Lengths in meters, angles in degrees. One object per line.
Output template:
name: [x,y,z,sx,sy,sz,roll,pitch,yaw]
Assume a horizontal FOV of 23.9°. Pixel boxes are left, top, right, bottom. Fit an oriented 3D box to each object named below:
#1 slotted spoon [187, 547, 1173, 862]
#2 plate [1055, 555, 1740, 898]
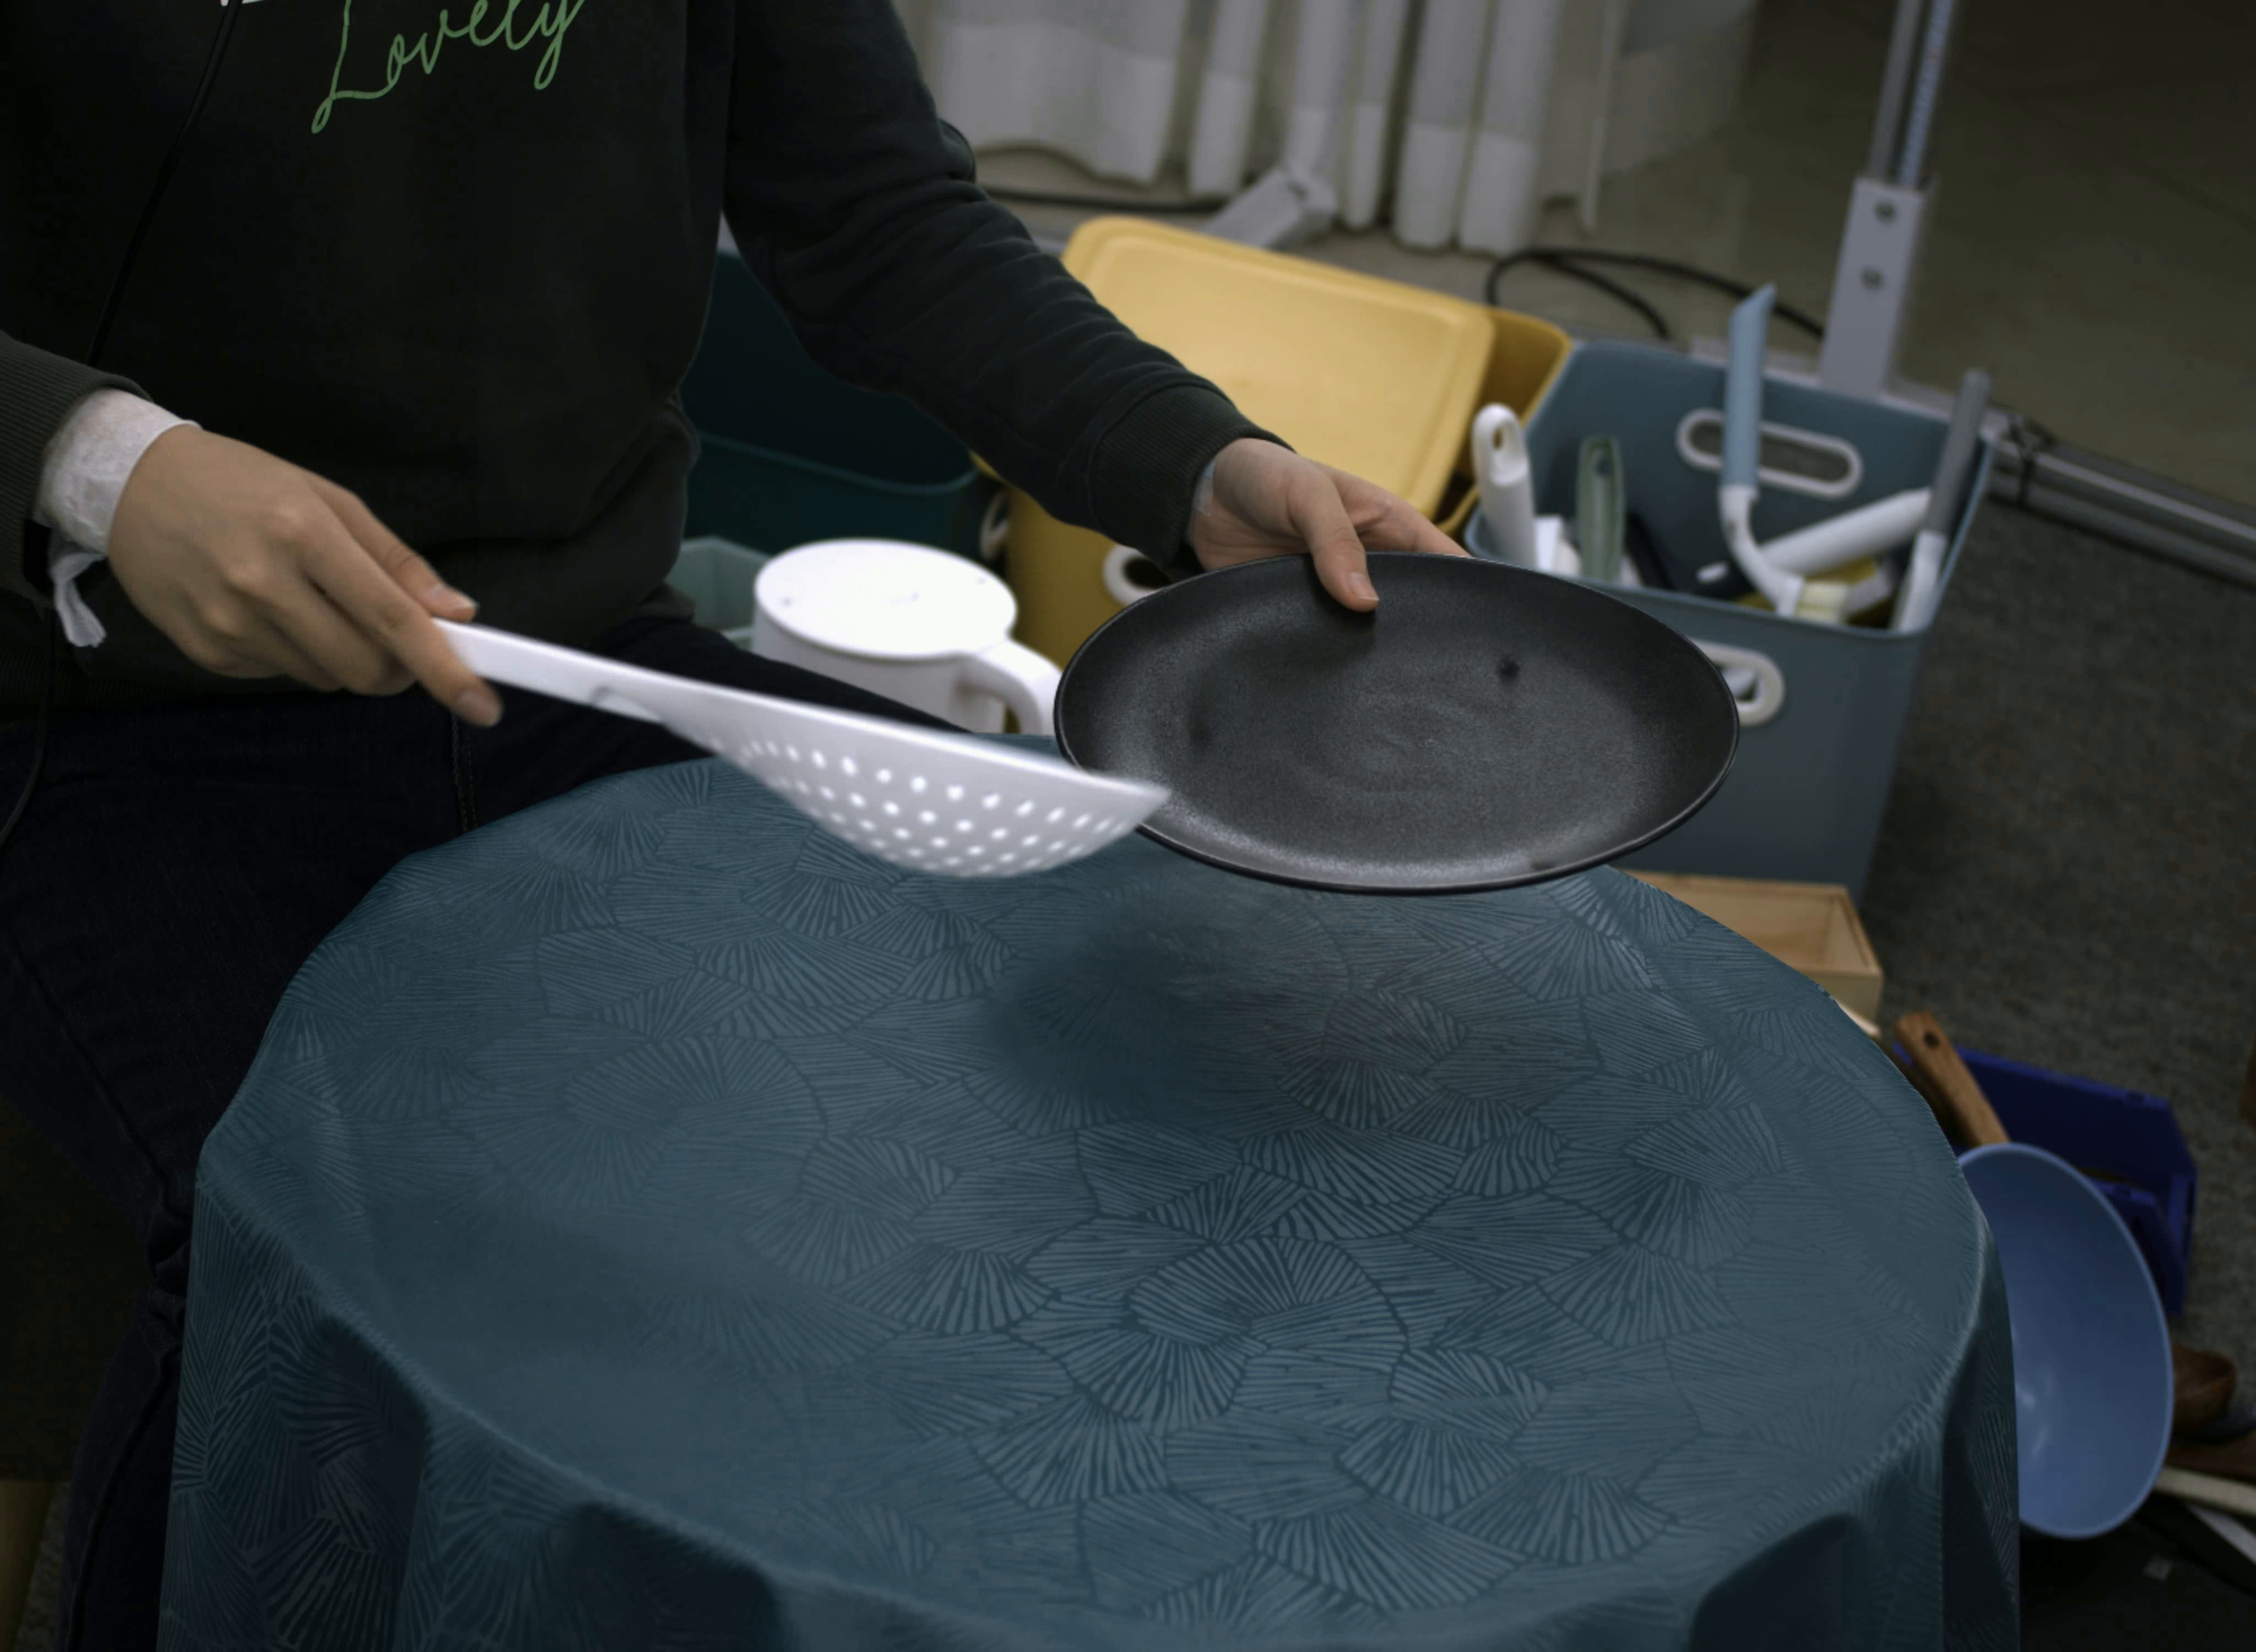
slotted spoon: [-0.148,-0.045,1.650,0.351,0.046,0.135,19,5,26]
plate: [0.095,-0.032,1.891,0.244,0.023,0.246,0,30,0]
